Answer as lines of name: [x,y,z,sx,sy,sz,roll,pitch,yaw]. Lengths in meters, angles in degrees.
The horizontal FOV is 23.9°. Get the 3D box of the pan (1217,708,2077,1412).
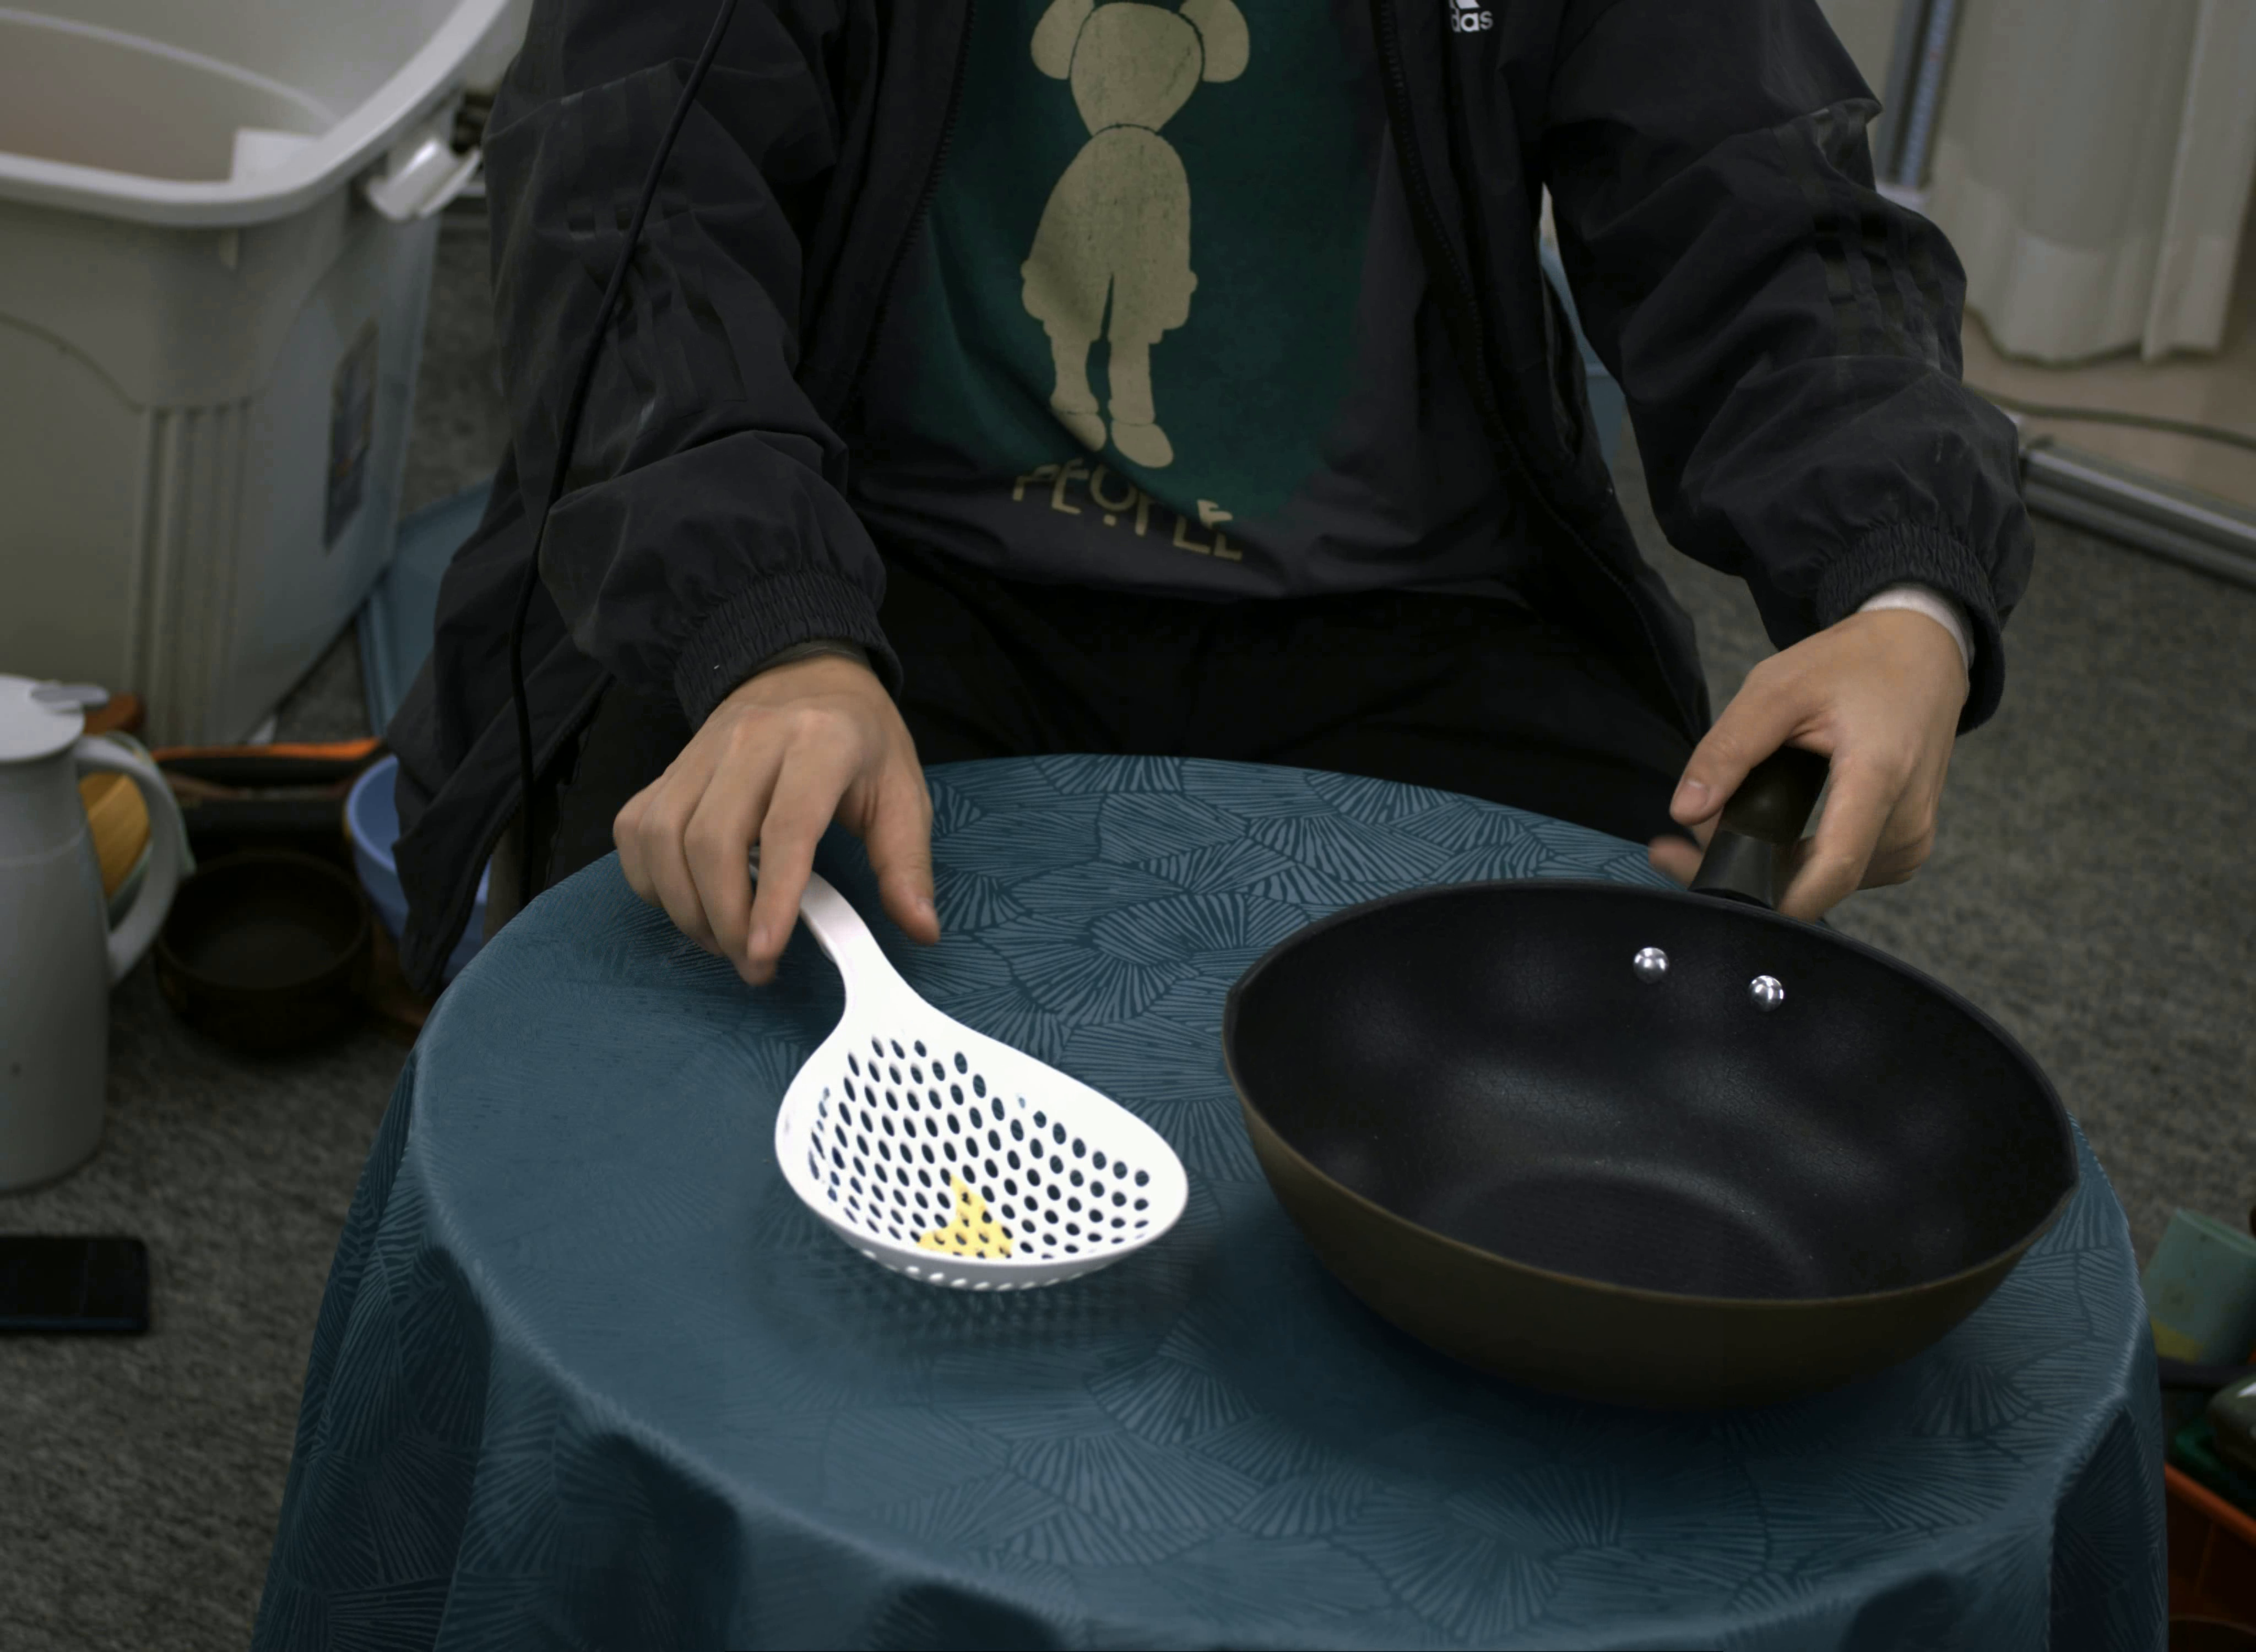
pan: [0.192,0.079,1.844,0.288,0.086,0.464,13,27,12]

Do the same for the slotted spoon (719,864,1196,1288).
slotted spoon: [-0.083,0.074,1.839,0.136,0.050,0.351,-3,28,-19]
